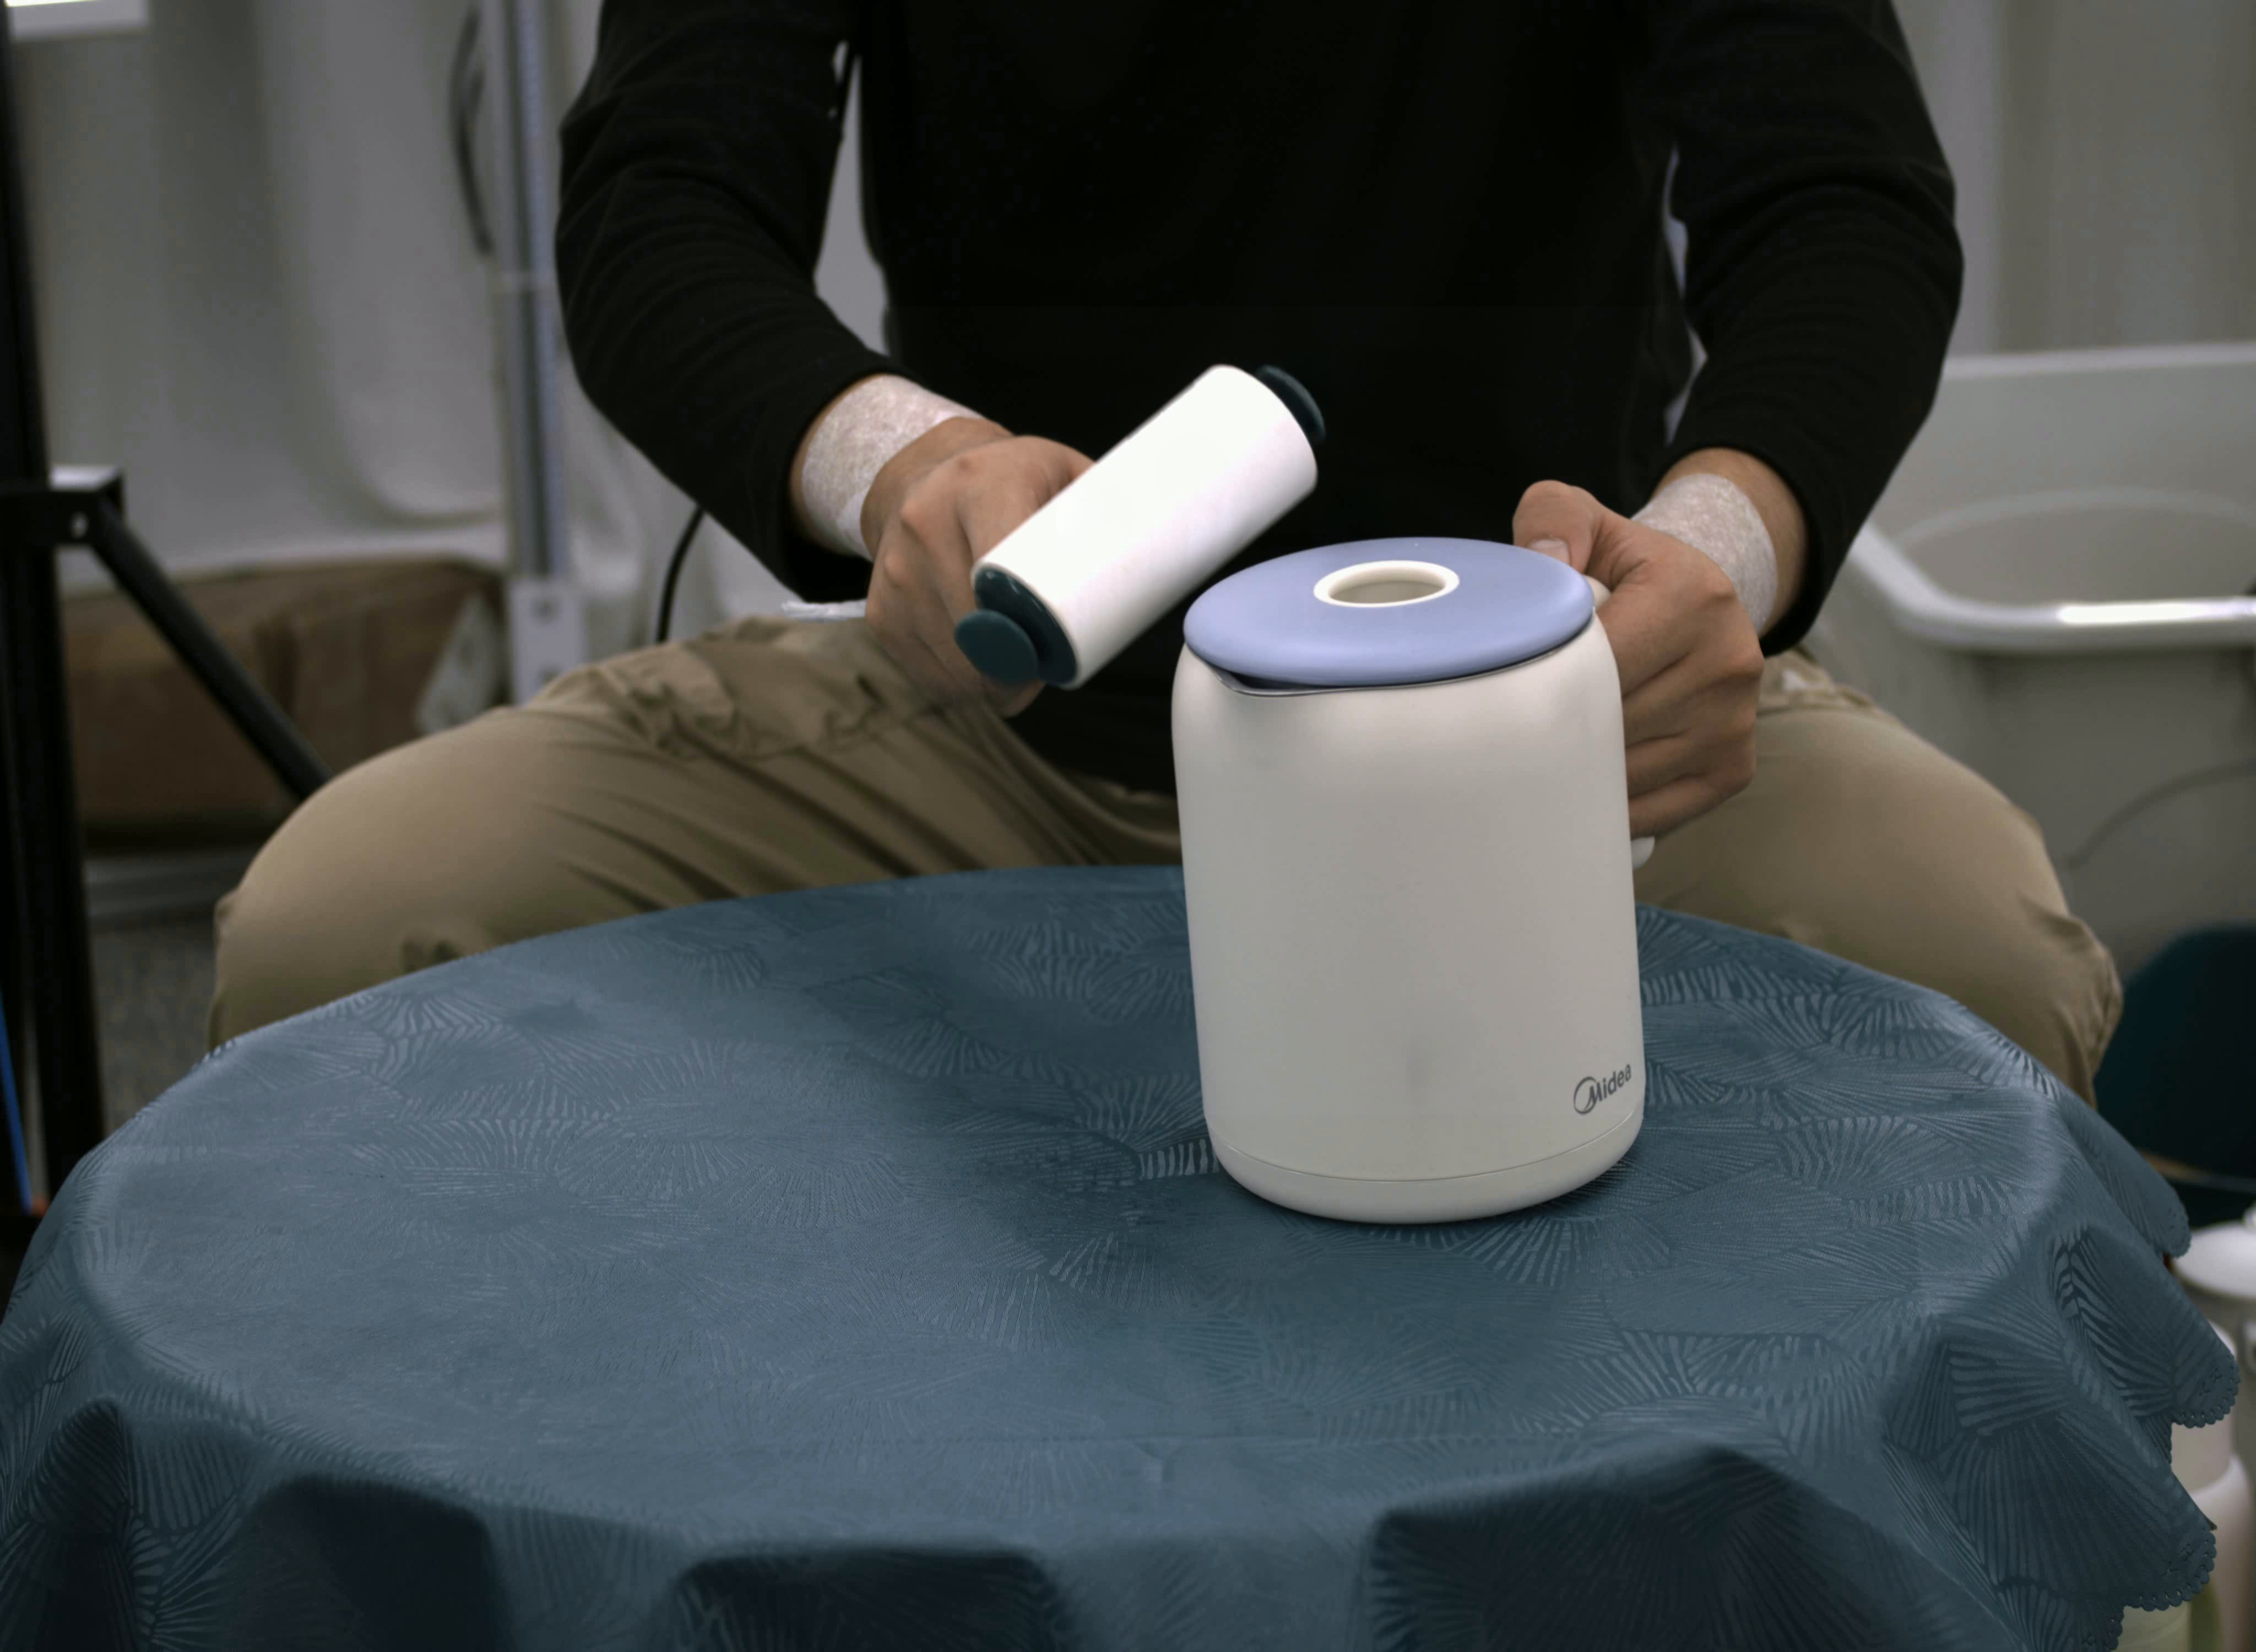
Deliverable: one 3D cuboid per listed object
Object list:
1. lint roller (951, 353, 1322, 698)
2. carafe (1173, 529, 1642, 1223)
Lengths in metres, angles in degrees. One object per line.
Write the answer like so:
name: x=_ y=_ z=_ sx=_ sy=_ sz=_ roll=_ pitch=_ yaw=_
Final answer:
lint roller: x=-0.022 y=-0.081 z=1.637 sx=0.133 sy=0.048 sz=0.183 roll=-40 pitch=11 yaw=-21
carafe: x=0.096 y=0.007 z=1.561 sx=0.135 sy=0.182 sz=0.187 roll=11 pitch=23 yaw=36
